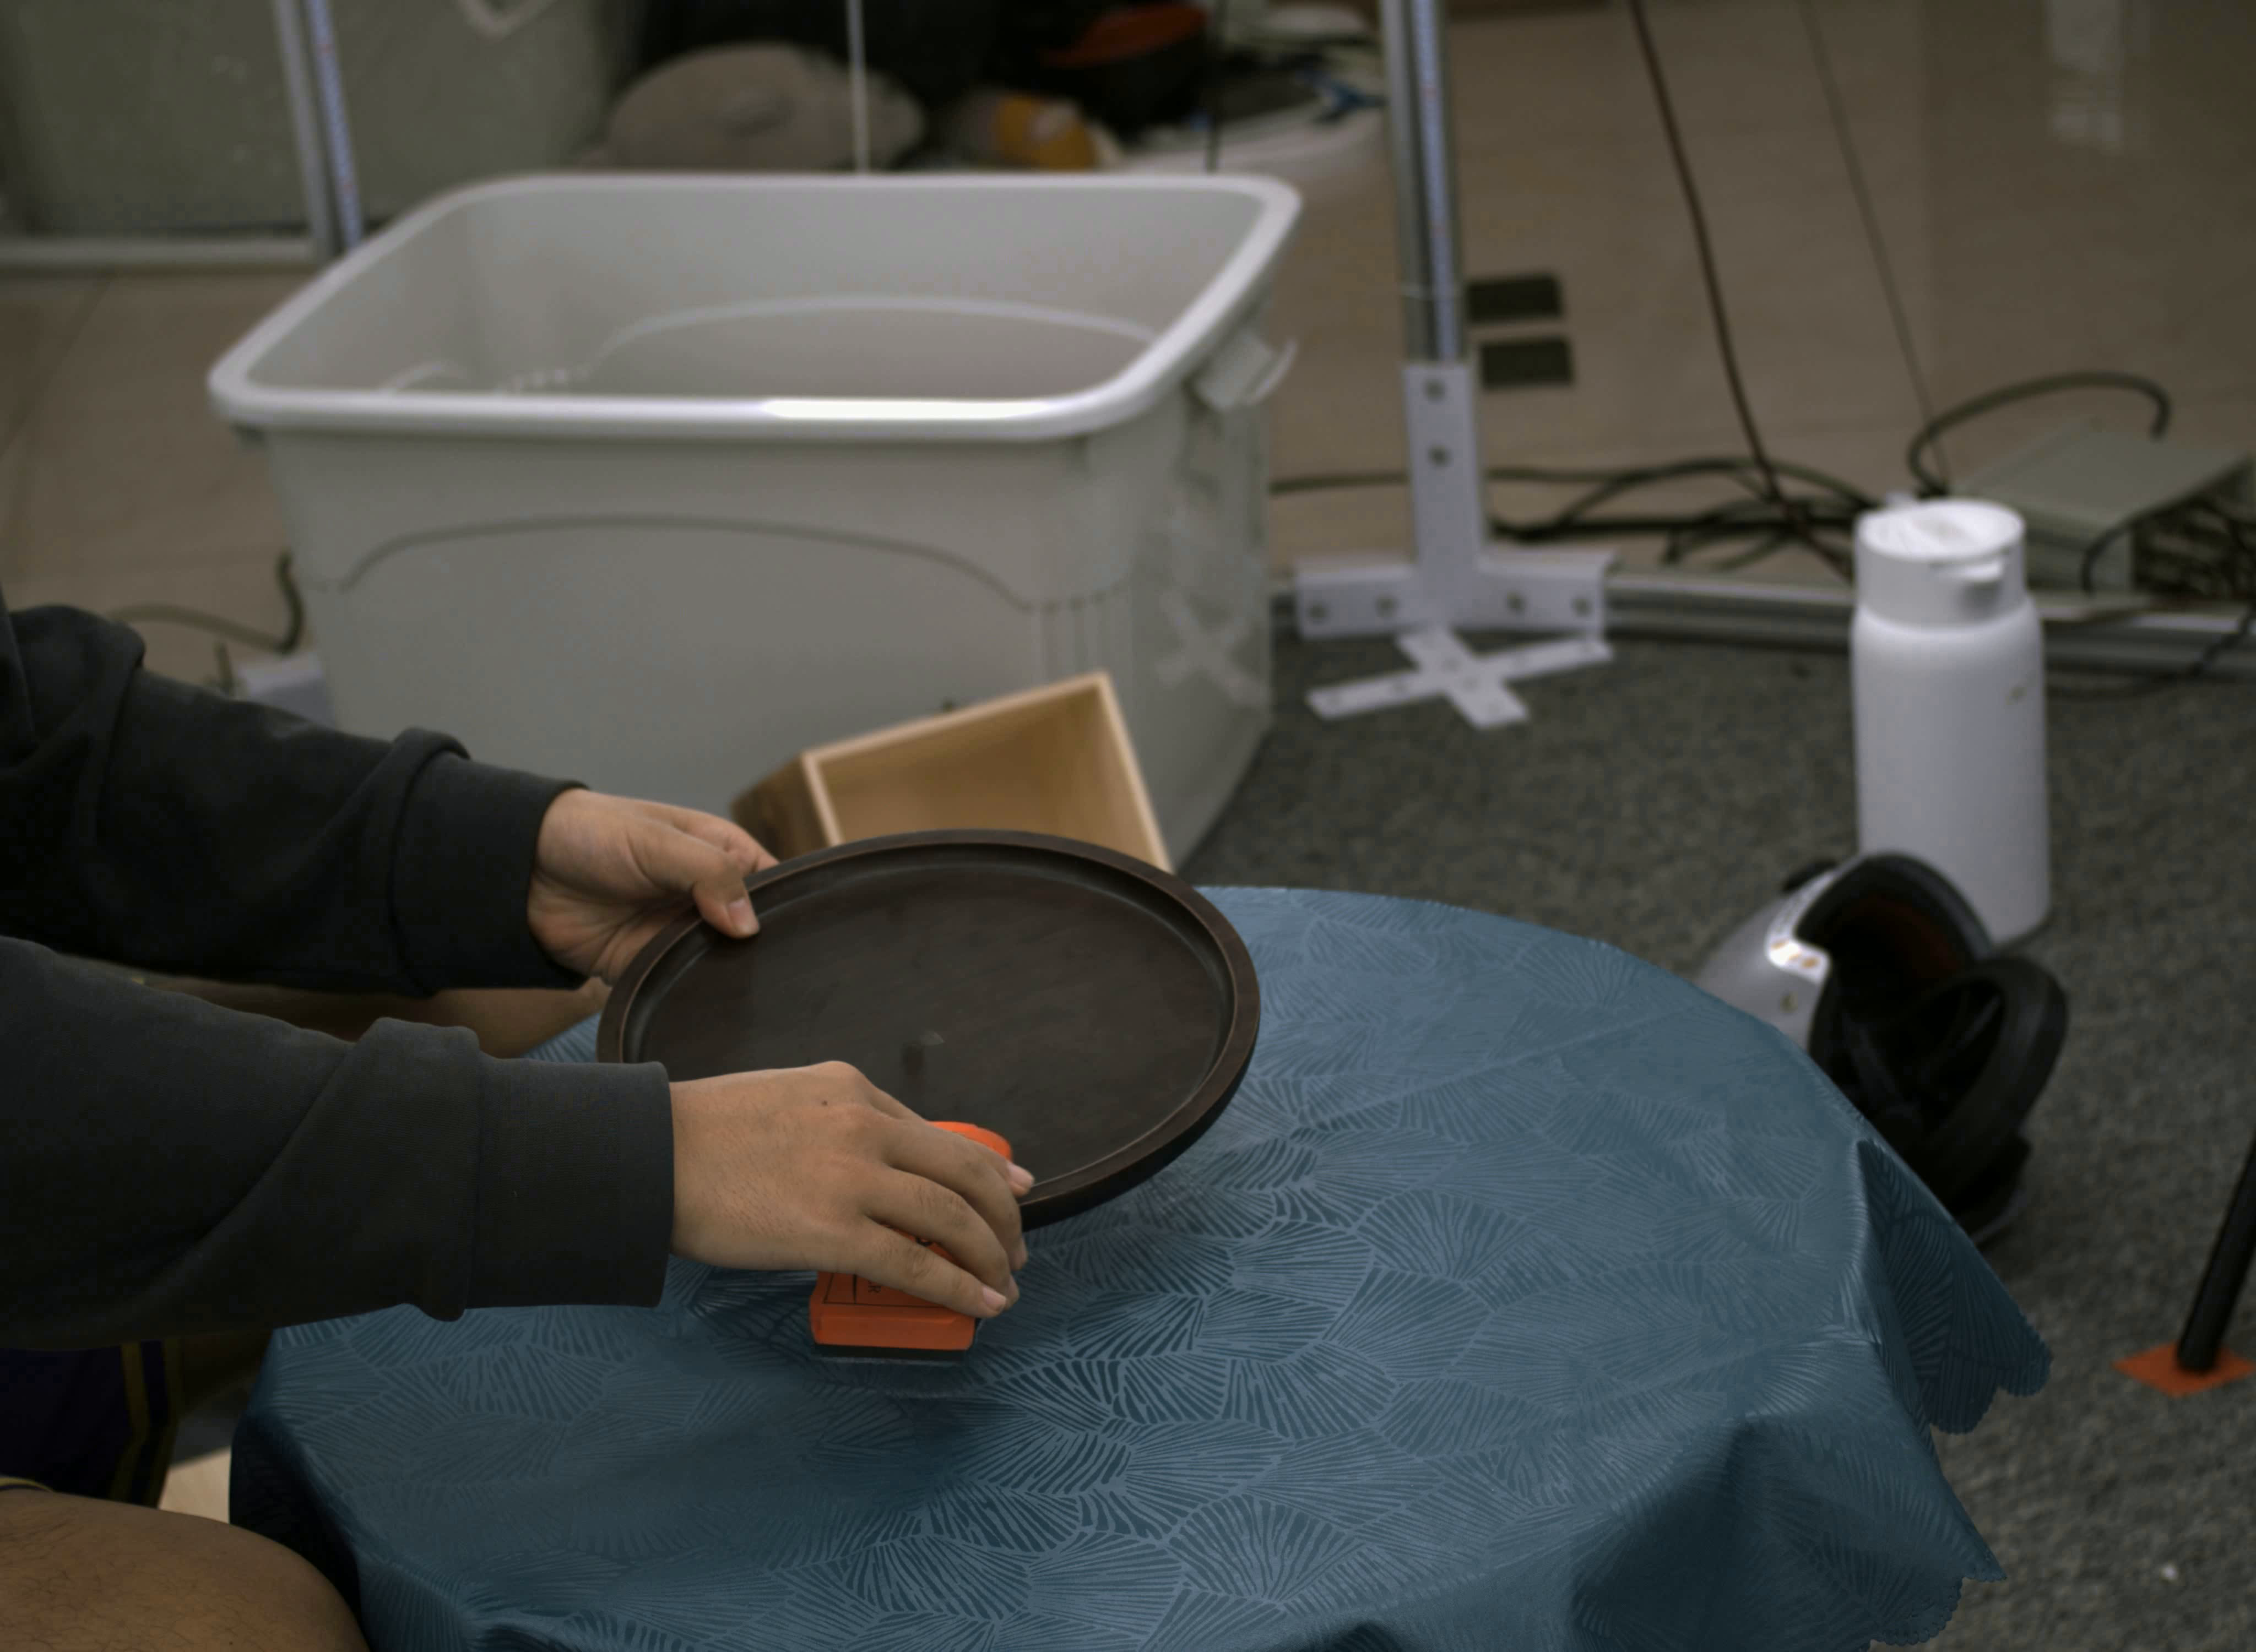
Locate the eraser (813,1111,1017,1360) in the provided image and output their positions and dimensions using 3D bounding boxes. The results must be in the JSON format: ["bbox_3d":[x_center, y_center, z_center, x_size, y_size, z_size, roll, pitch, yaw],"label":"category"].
[{"bbox_3d":[-0.075,0.144,2.005,0.059,0.023,0.106,2,39,10],"label":"eraser"}]

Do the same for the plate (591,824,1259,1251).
[{"bbox_3d":[-0.076,0.080,2.140,0.254,0.029,0.250,-4,36,3],"label":"plate"}]
